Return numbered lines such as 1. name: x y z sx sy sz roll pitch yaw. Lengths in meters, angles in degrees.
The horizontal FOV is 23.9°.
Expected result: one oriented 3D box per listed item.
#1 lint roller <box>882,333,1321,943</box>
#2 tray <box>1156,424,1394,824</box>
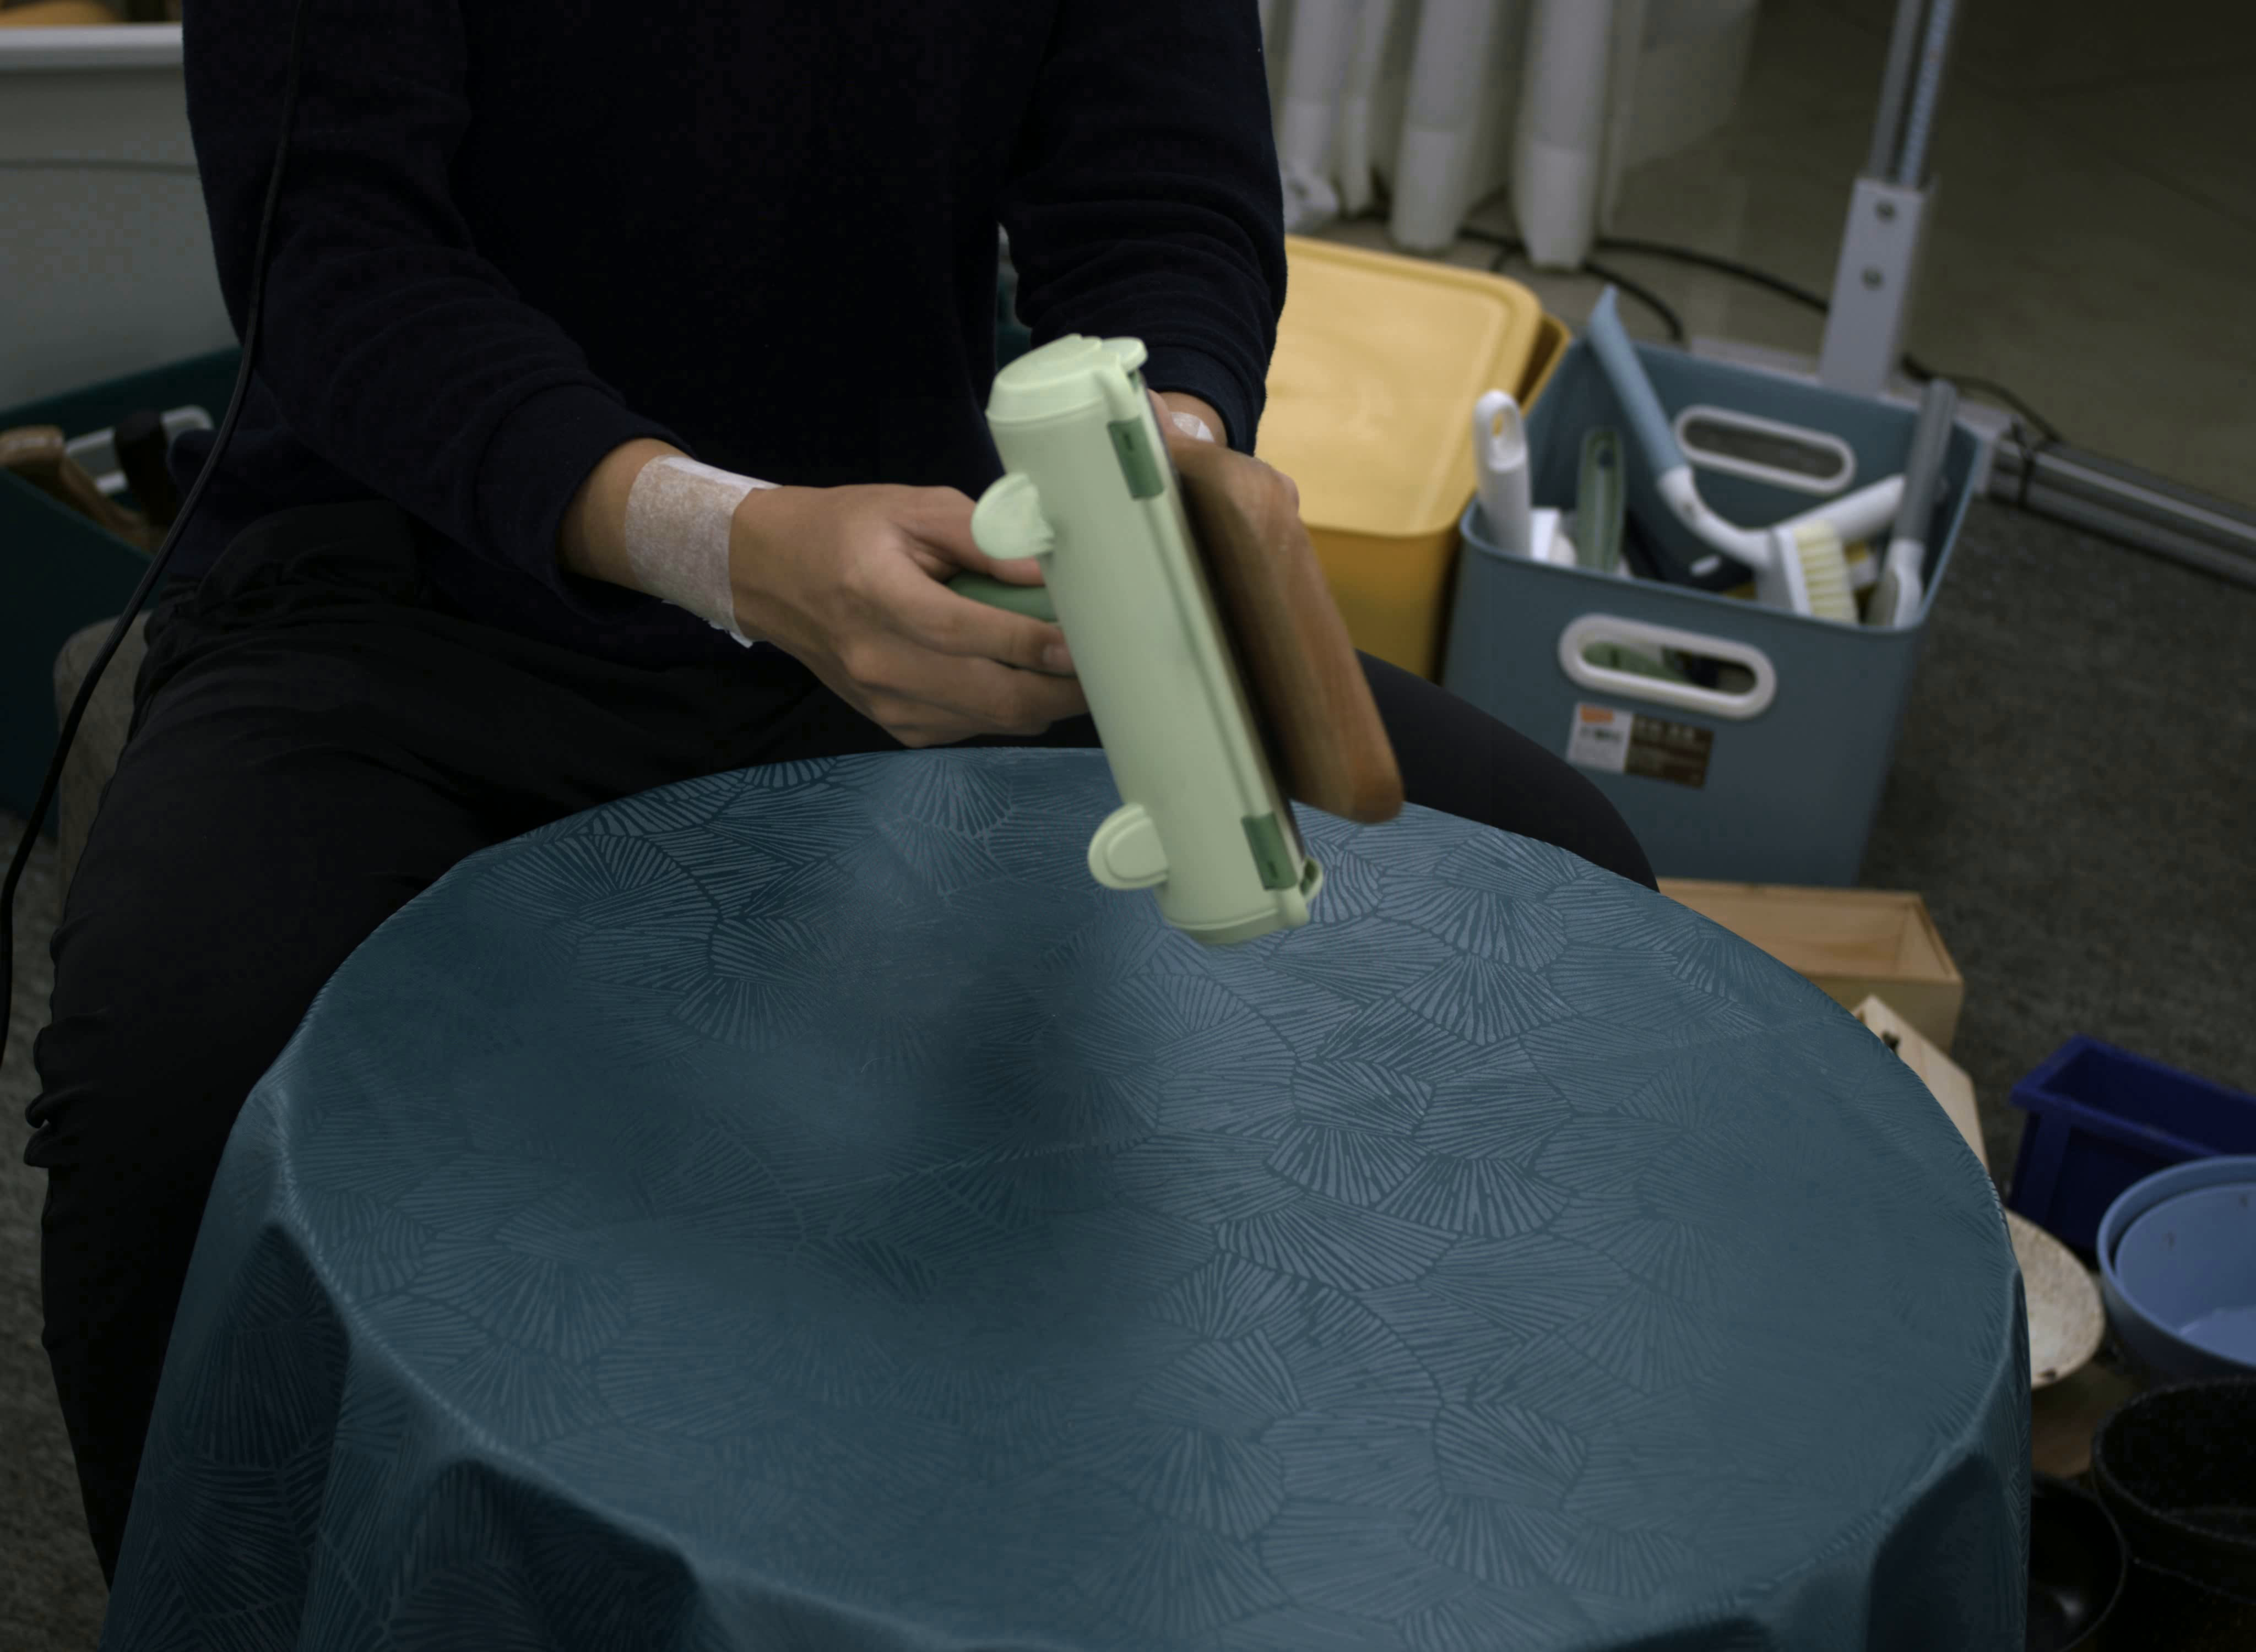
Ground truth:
1. lint roller: -0.035 -0.055 1.712 0.184 0.198 0.082 -1 25 46
2. tray: 0.029 -0.069 1.738 0.023 0.130 0.251 -21 9 -11
